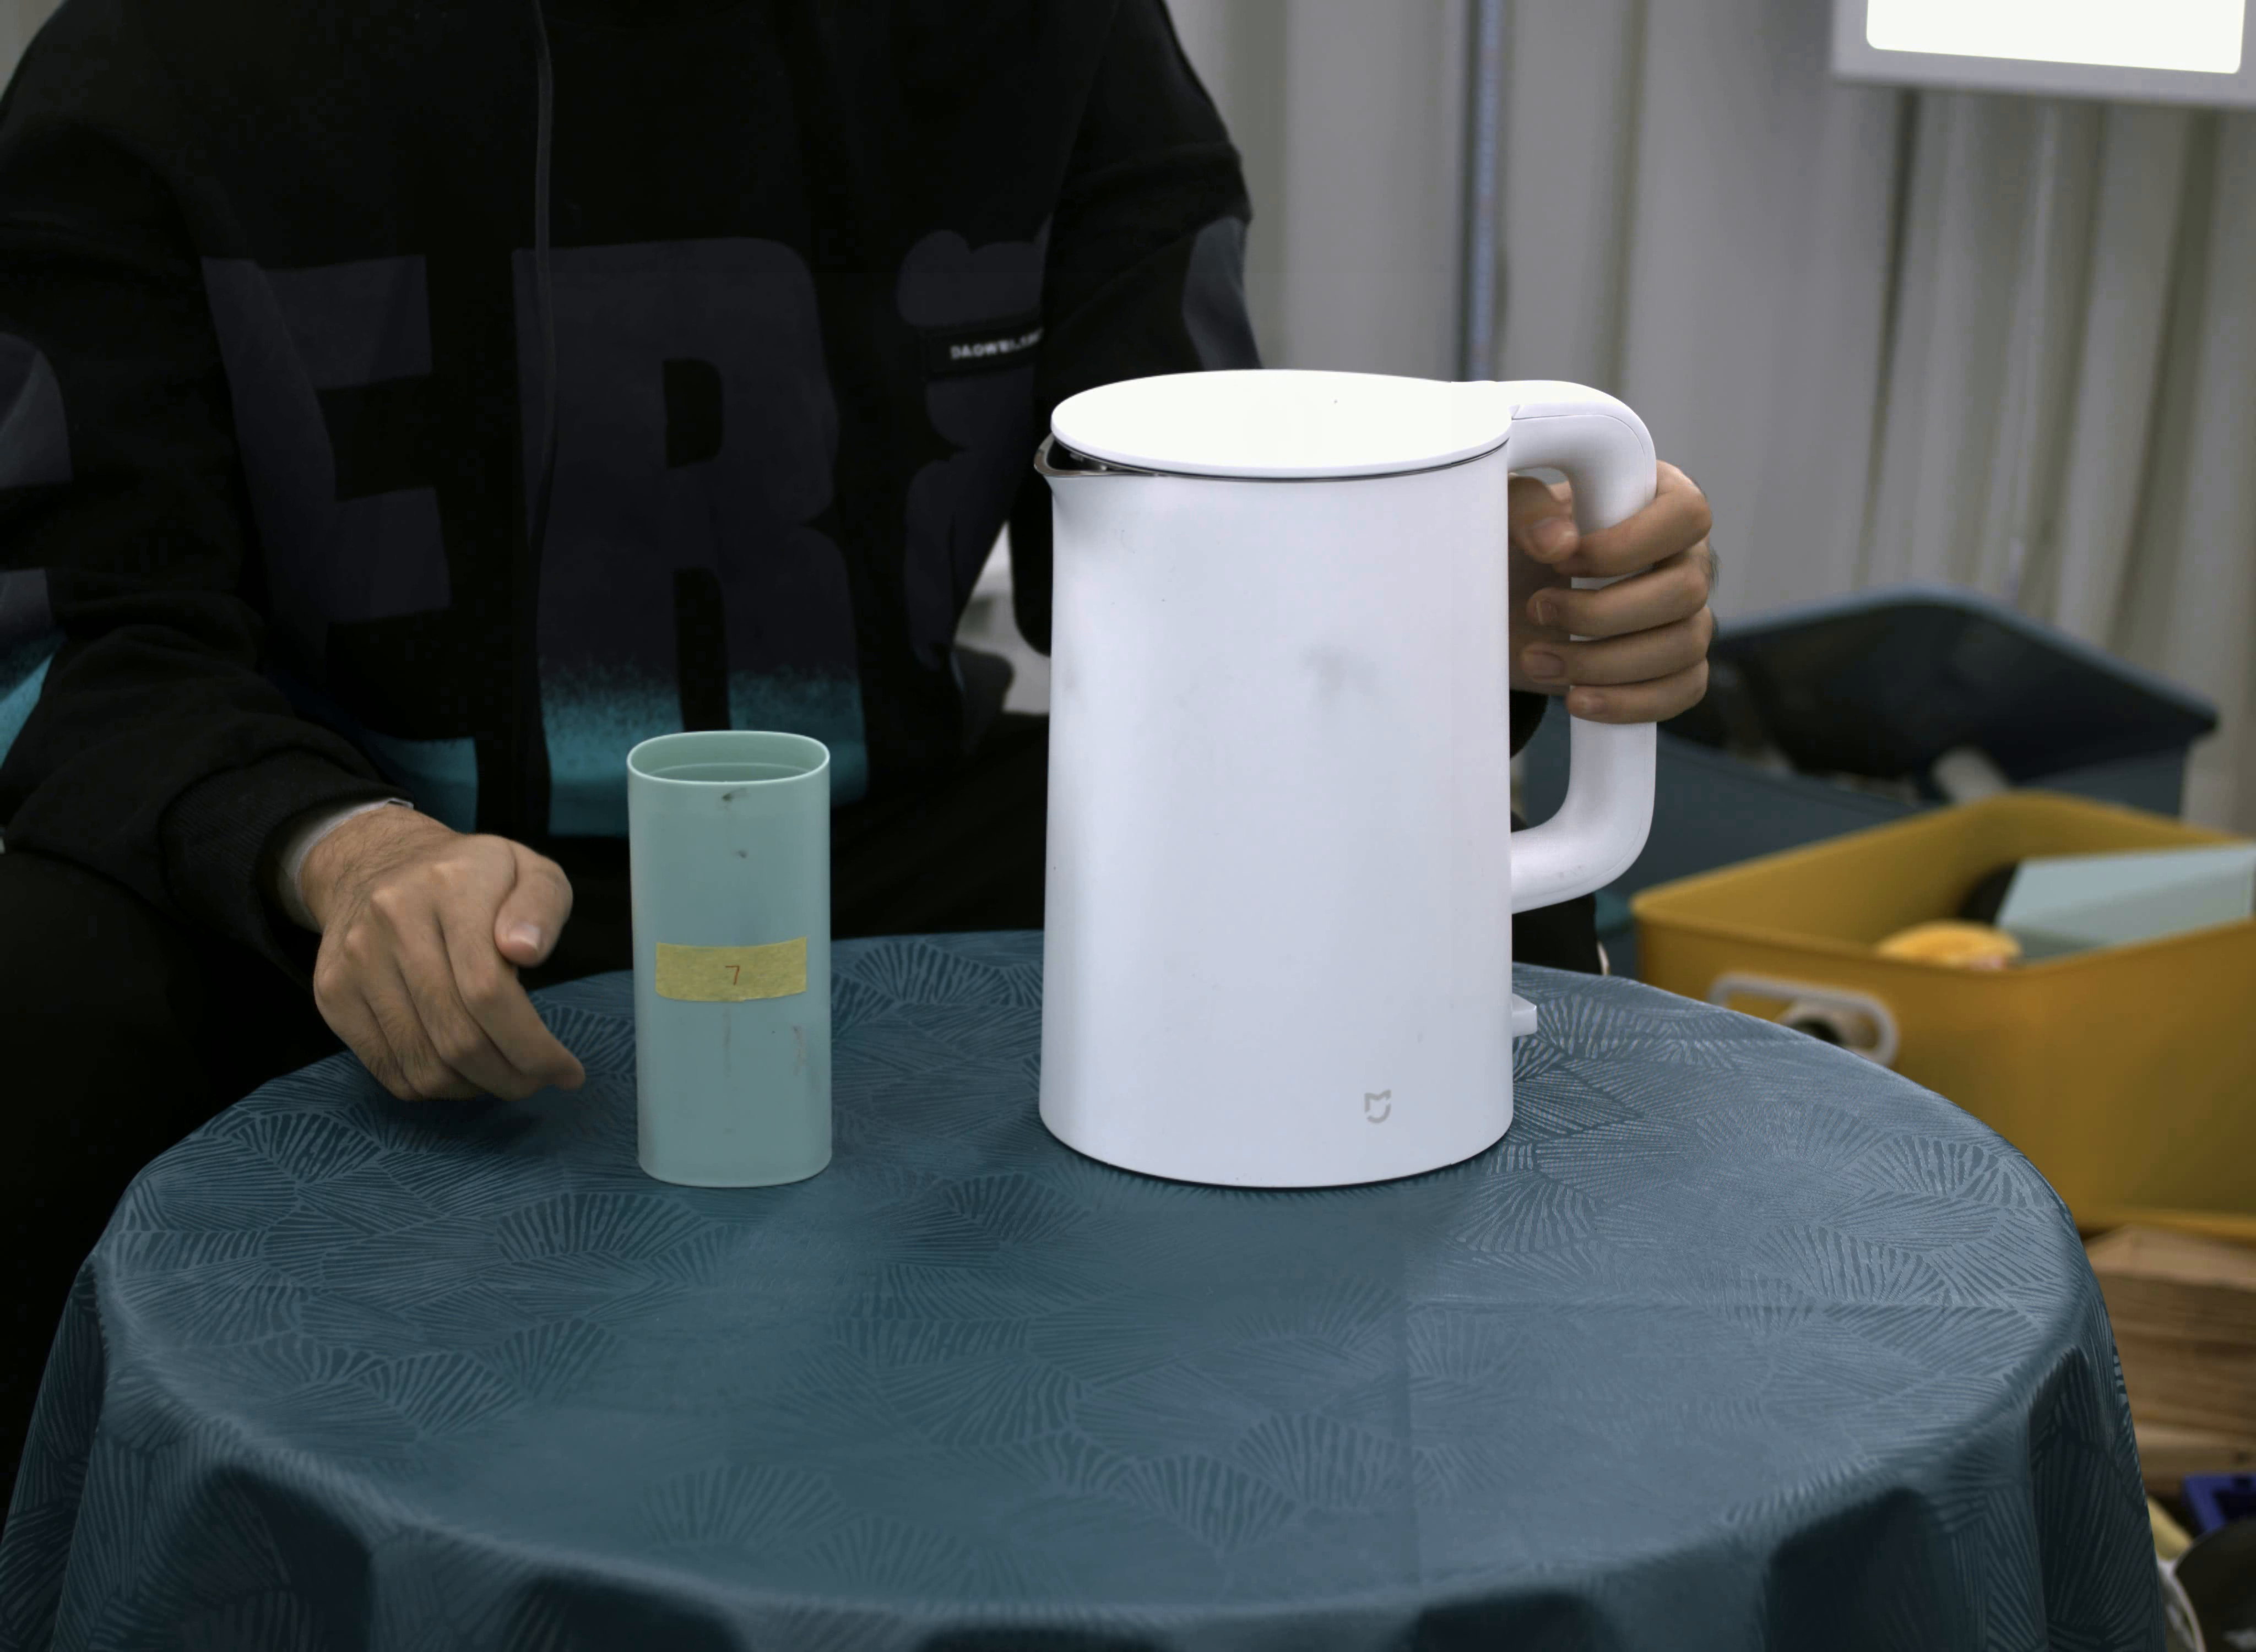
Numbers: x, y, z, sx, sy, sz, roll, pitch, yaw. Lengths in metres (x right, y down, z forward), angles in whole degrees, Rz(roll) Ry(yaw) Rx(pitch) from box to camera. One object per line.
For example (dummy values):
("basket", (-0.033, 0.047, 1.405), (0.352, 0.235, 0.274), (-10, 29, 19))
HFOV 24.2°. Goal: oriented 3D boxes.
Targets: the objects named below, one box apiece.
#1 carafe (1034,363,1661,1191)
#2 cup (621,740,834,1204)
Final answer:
("carafe", (0.071, -0.021, 1.667), (0.214, 0.242, 0.150), (-8, 19, -25))
("cup", (-0.123, 0.044, 1.628), (0.066, 0.133, 0.066), (0, 17, 1))
